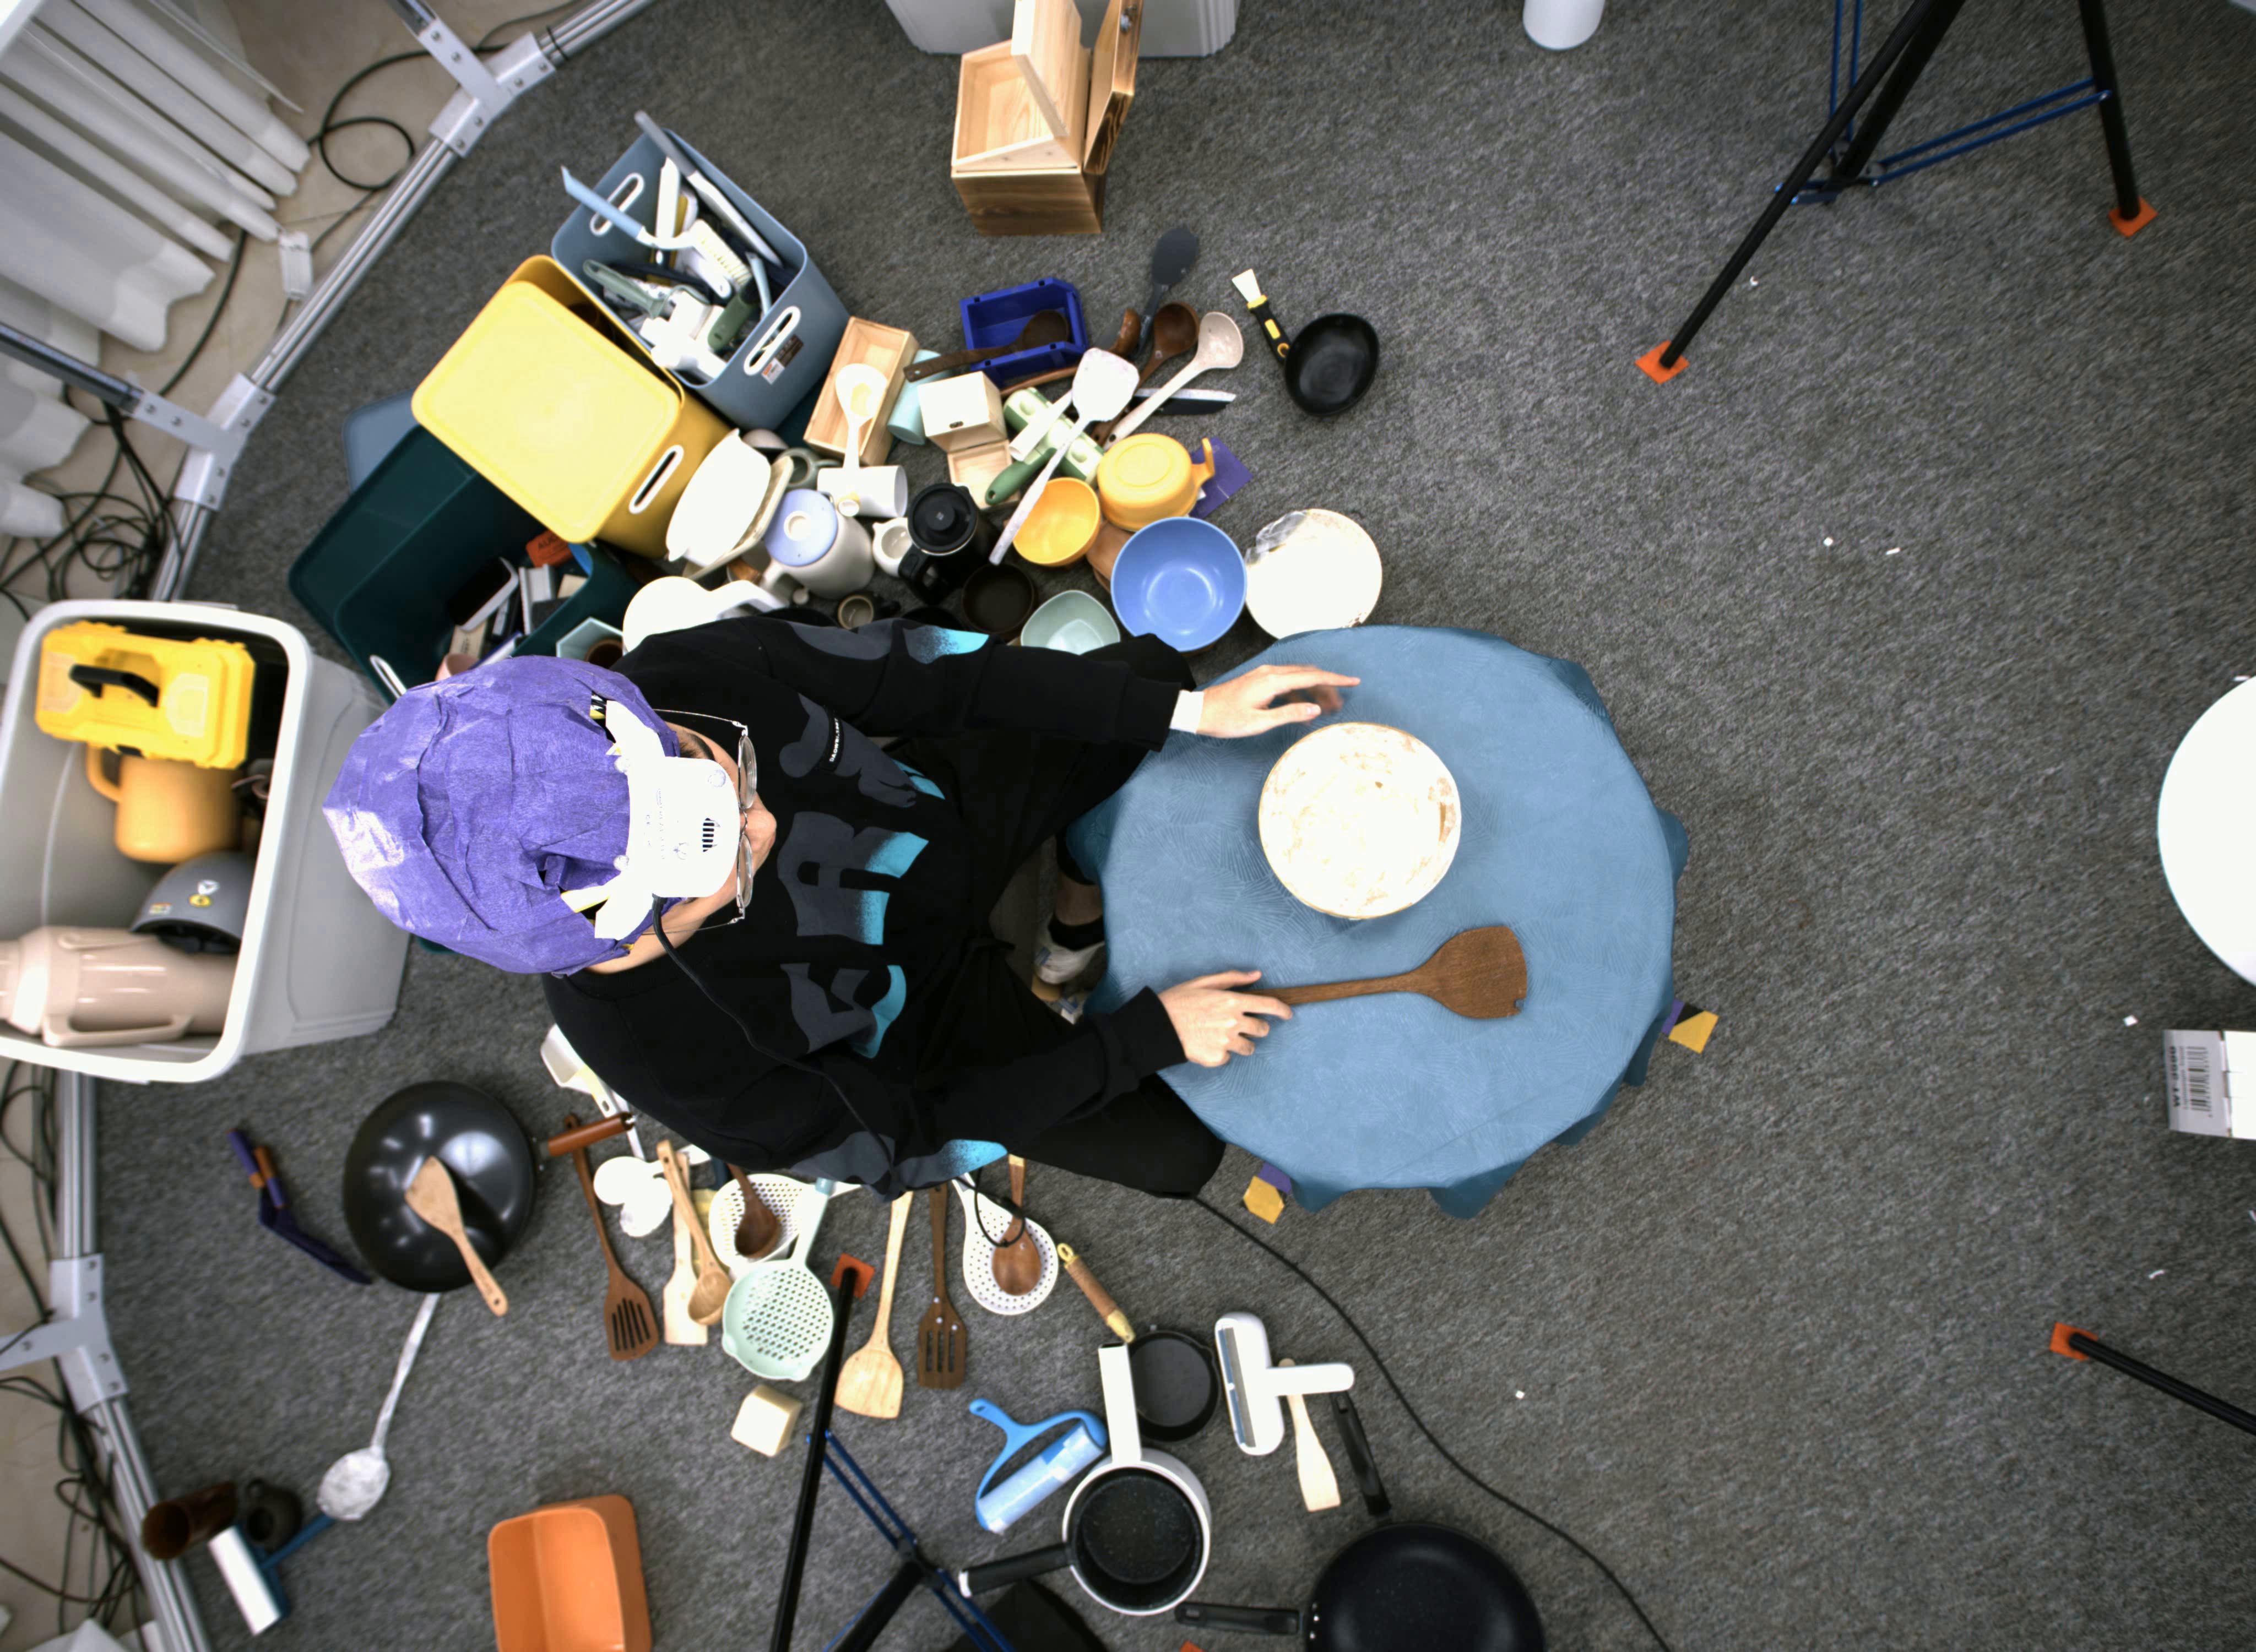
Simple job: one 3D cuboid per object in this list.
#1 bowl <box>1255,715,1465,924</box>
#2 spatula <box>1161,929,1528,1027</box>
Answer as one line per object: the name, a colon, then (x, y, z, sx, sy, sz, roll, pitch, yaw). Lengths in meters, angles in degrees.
bowl: (0.239, -0.003, 1.427, 0.215, 0.094, 0.214, -1, 87, 11)
spatula: (0.224, 0.175, 1.459, 0.388, 0.016, 0.095, -8, 84, 10)
